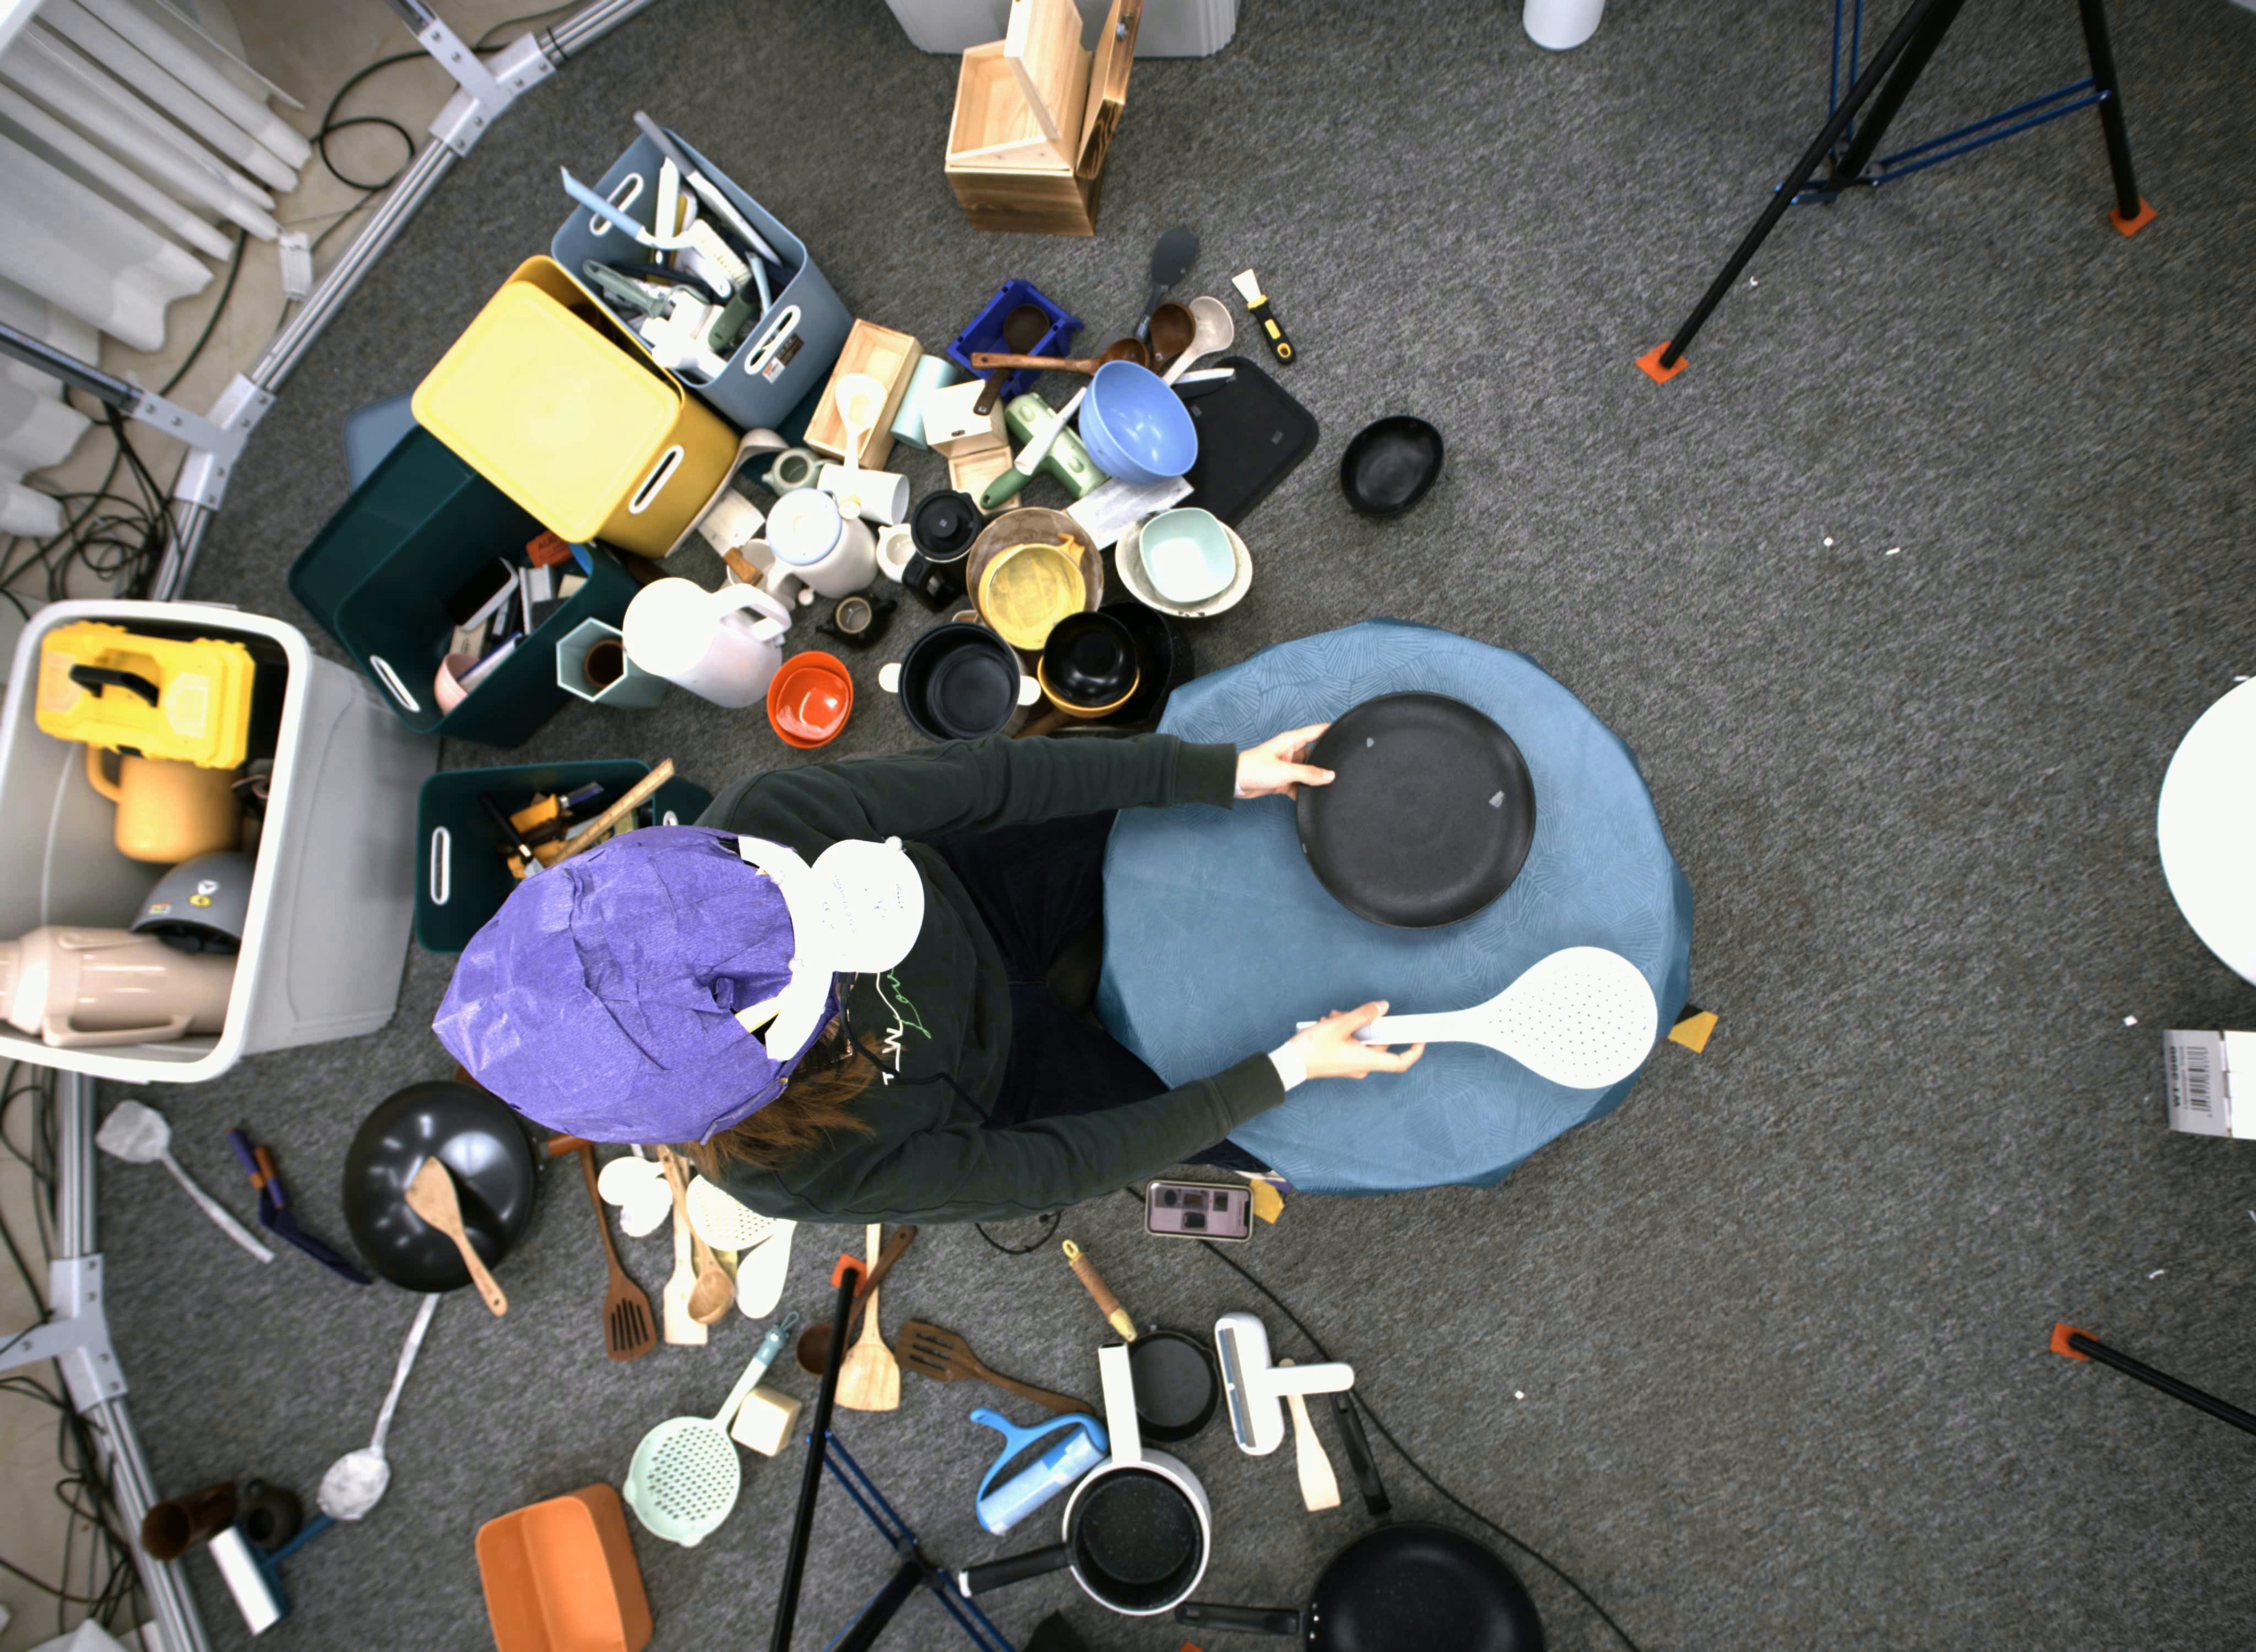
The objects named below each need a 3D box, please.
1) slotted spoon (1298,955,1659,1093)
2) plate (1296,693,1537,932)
[{"bbox_3d":[0.346,0.200,1.379,0.351,0.045,0.136,-5,91,7],"label":"slotted spoon"},{"bbox_3d":[0.292,-0.015,1.405,0.245,0.023,0.244,0,89,5],"label":"plate"}]
